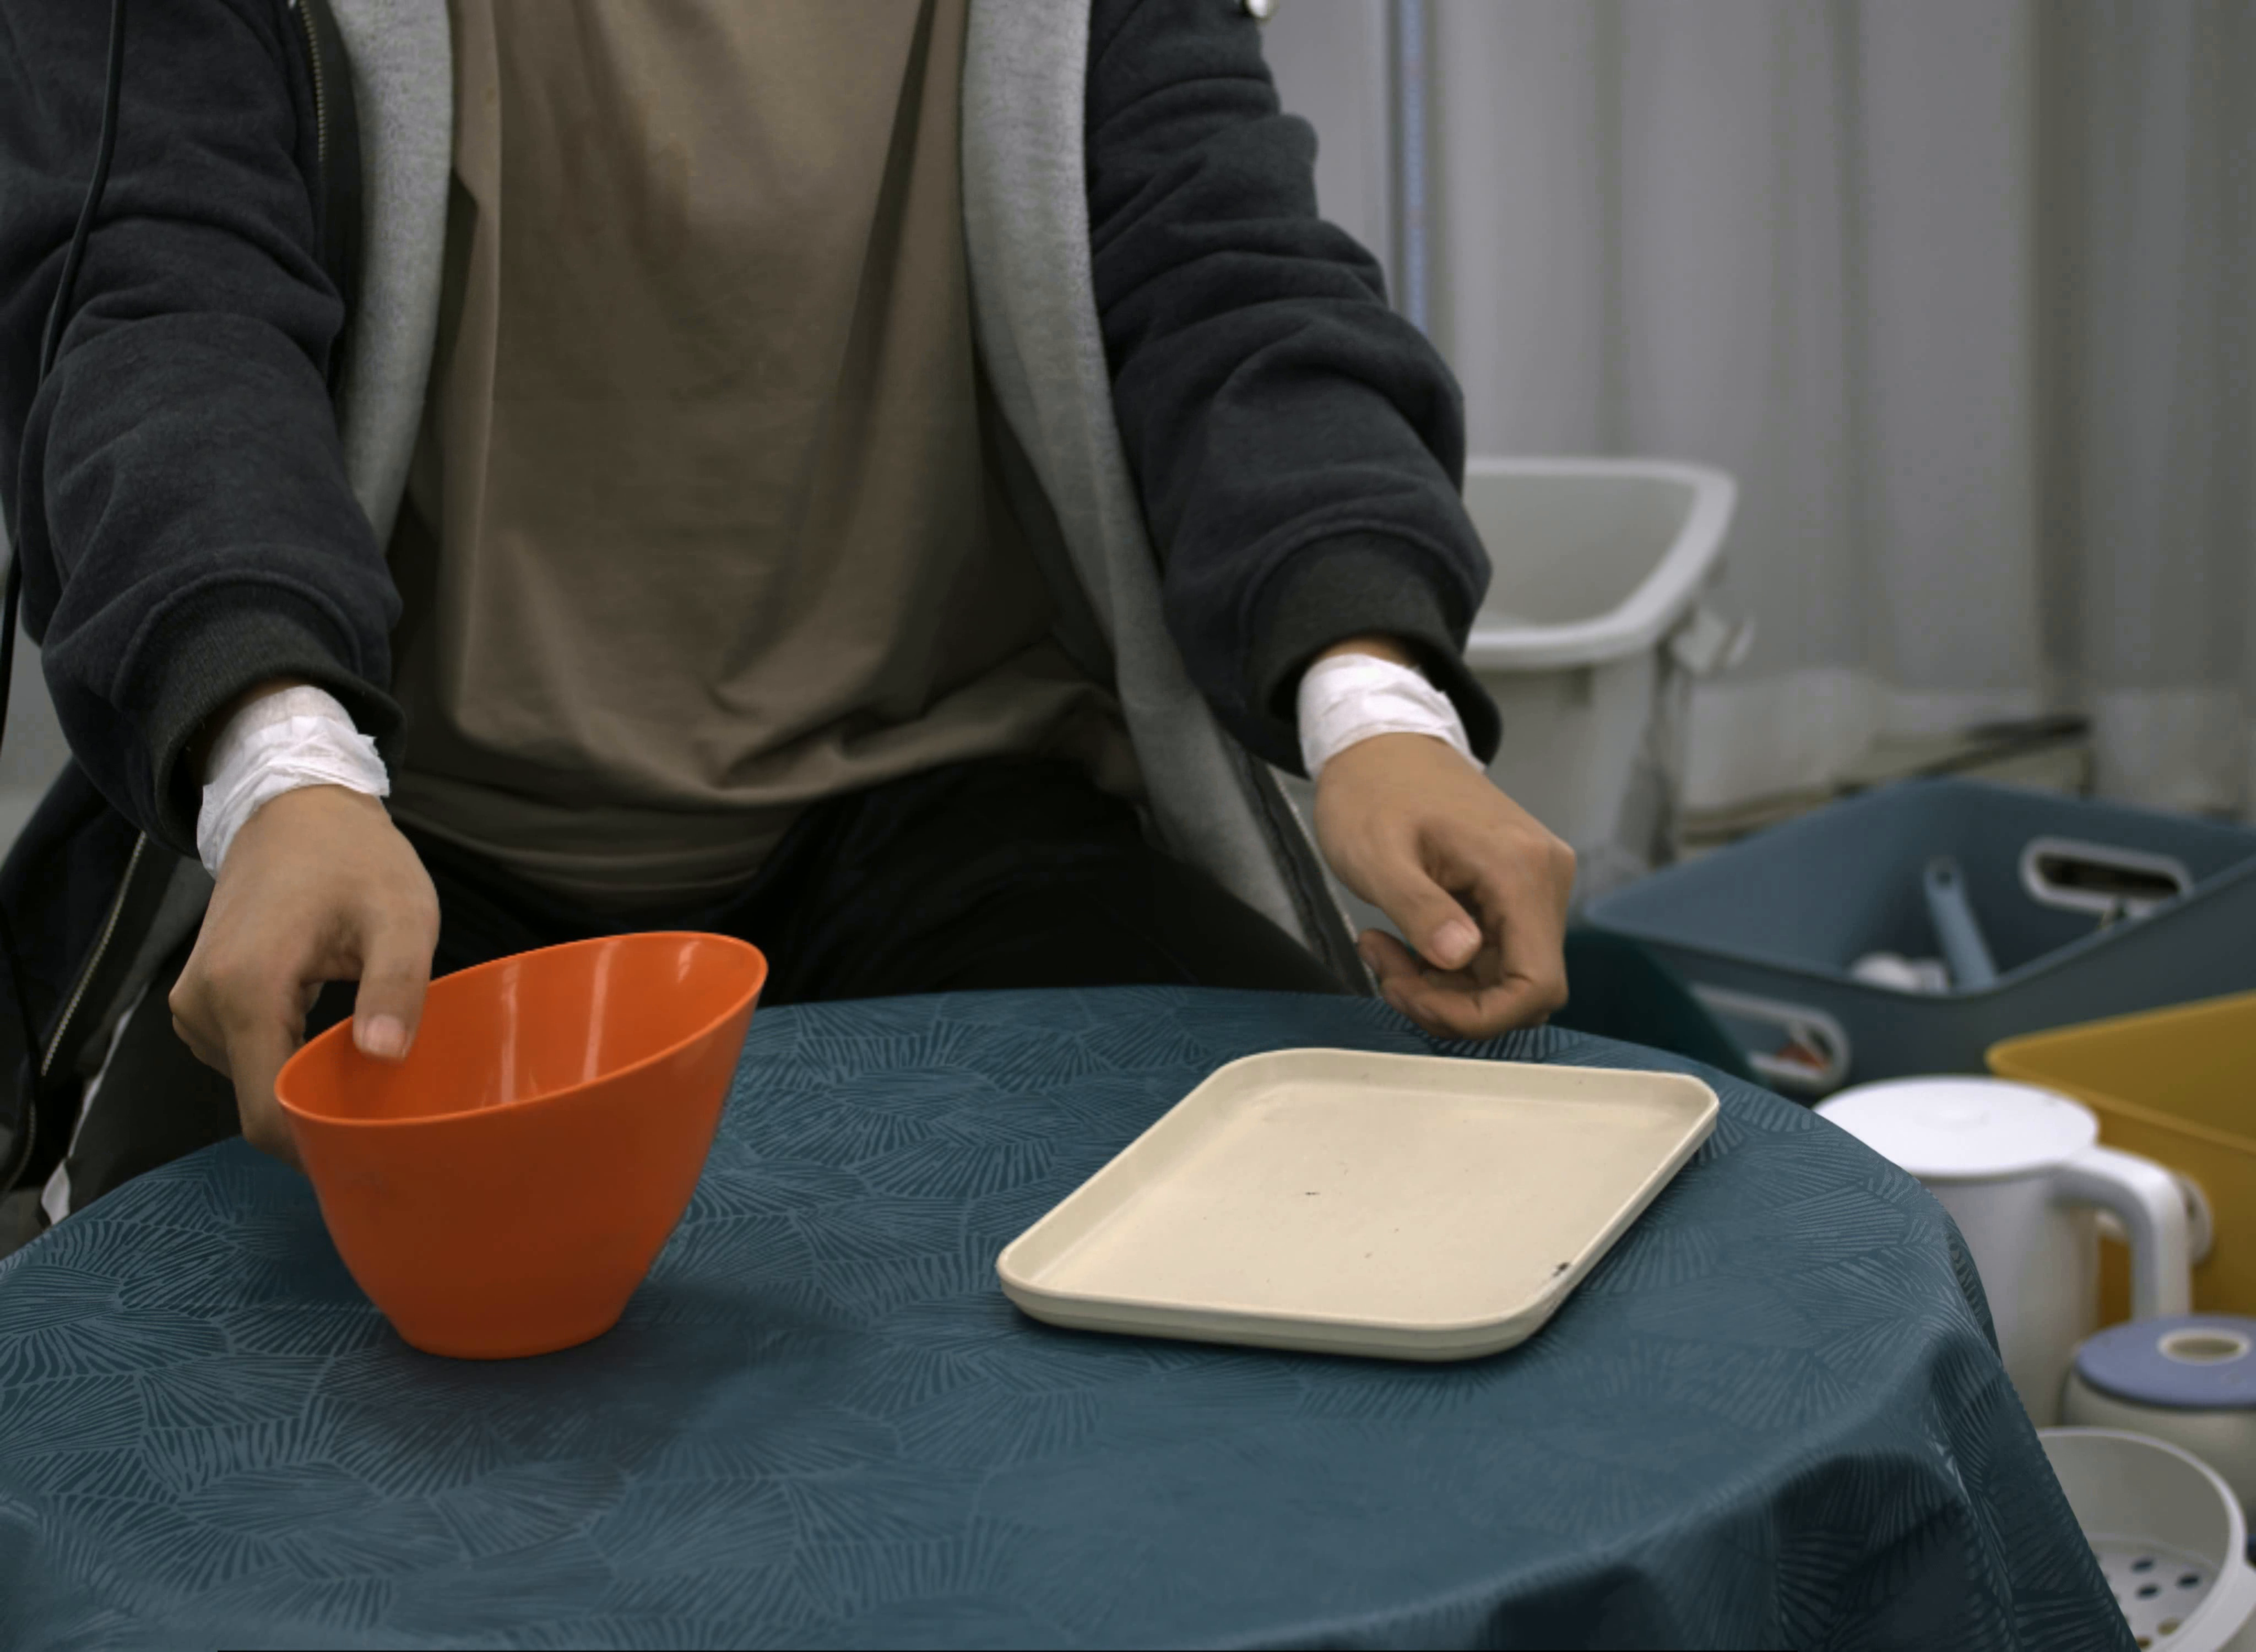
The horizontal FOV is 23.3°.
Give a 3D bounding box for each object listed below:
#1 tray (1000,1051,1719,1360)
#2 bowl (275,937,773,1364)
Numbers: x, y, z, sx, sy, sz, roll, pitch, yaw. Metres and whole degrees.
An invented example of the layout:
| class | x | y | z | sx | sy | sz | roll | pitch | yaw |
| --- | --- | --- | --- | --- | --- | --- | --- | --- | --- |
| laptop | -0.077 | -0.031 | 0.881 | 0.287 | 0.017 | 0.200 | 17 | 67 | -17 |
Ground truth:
| class | x | y | z | sx | sy | sz | roll | pitch | yaw |
| --- | --- | --- | --- | --- | --- | --- | --- | --- | --- |
| tray | 0.075 | 0.114 | 1.669 | 0.171 | 0.017 | 0.240 | 2 | 16 | 22 |
| bowl | -0.176 | 0.099 | 1.617 | 0.147 | 0.104 | 0.149 | -2 | 16 | 0 |
